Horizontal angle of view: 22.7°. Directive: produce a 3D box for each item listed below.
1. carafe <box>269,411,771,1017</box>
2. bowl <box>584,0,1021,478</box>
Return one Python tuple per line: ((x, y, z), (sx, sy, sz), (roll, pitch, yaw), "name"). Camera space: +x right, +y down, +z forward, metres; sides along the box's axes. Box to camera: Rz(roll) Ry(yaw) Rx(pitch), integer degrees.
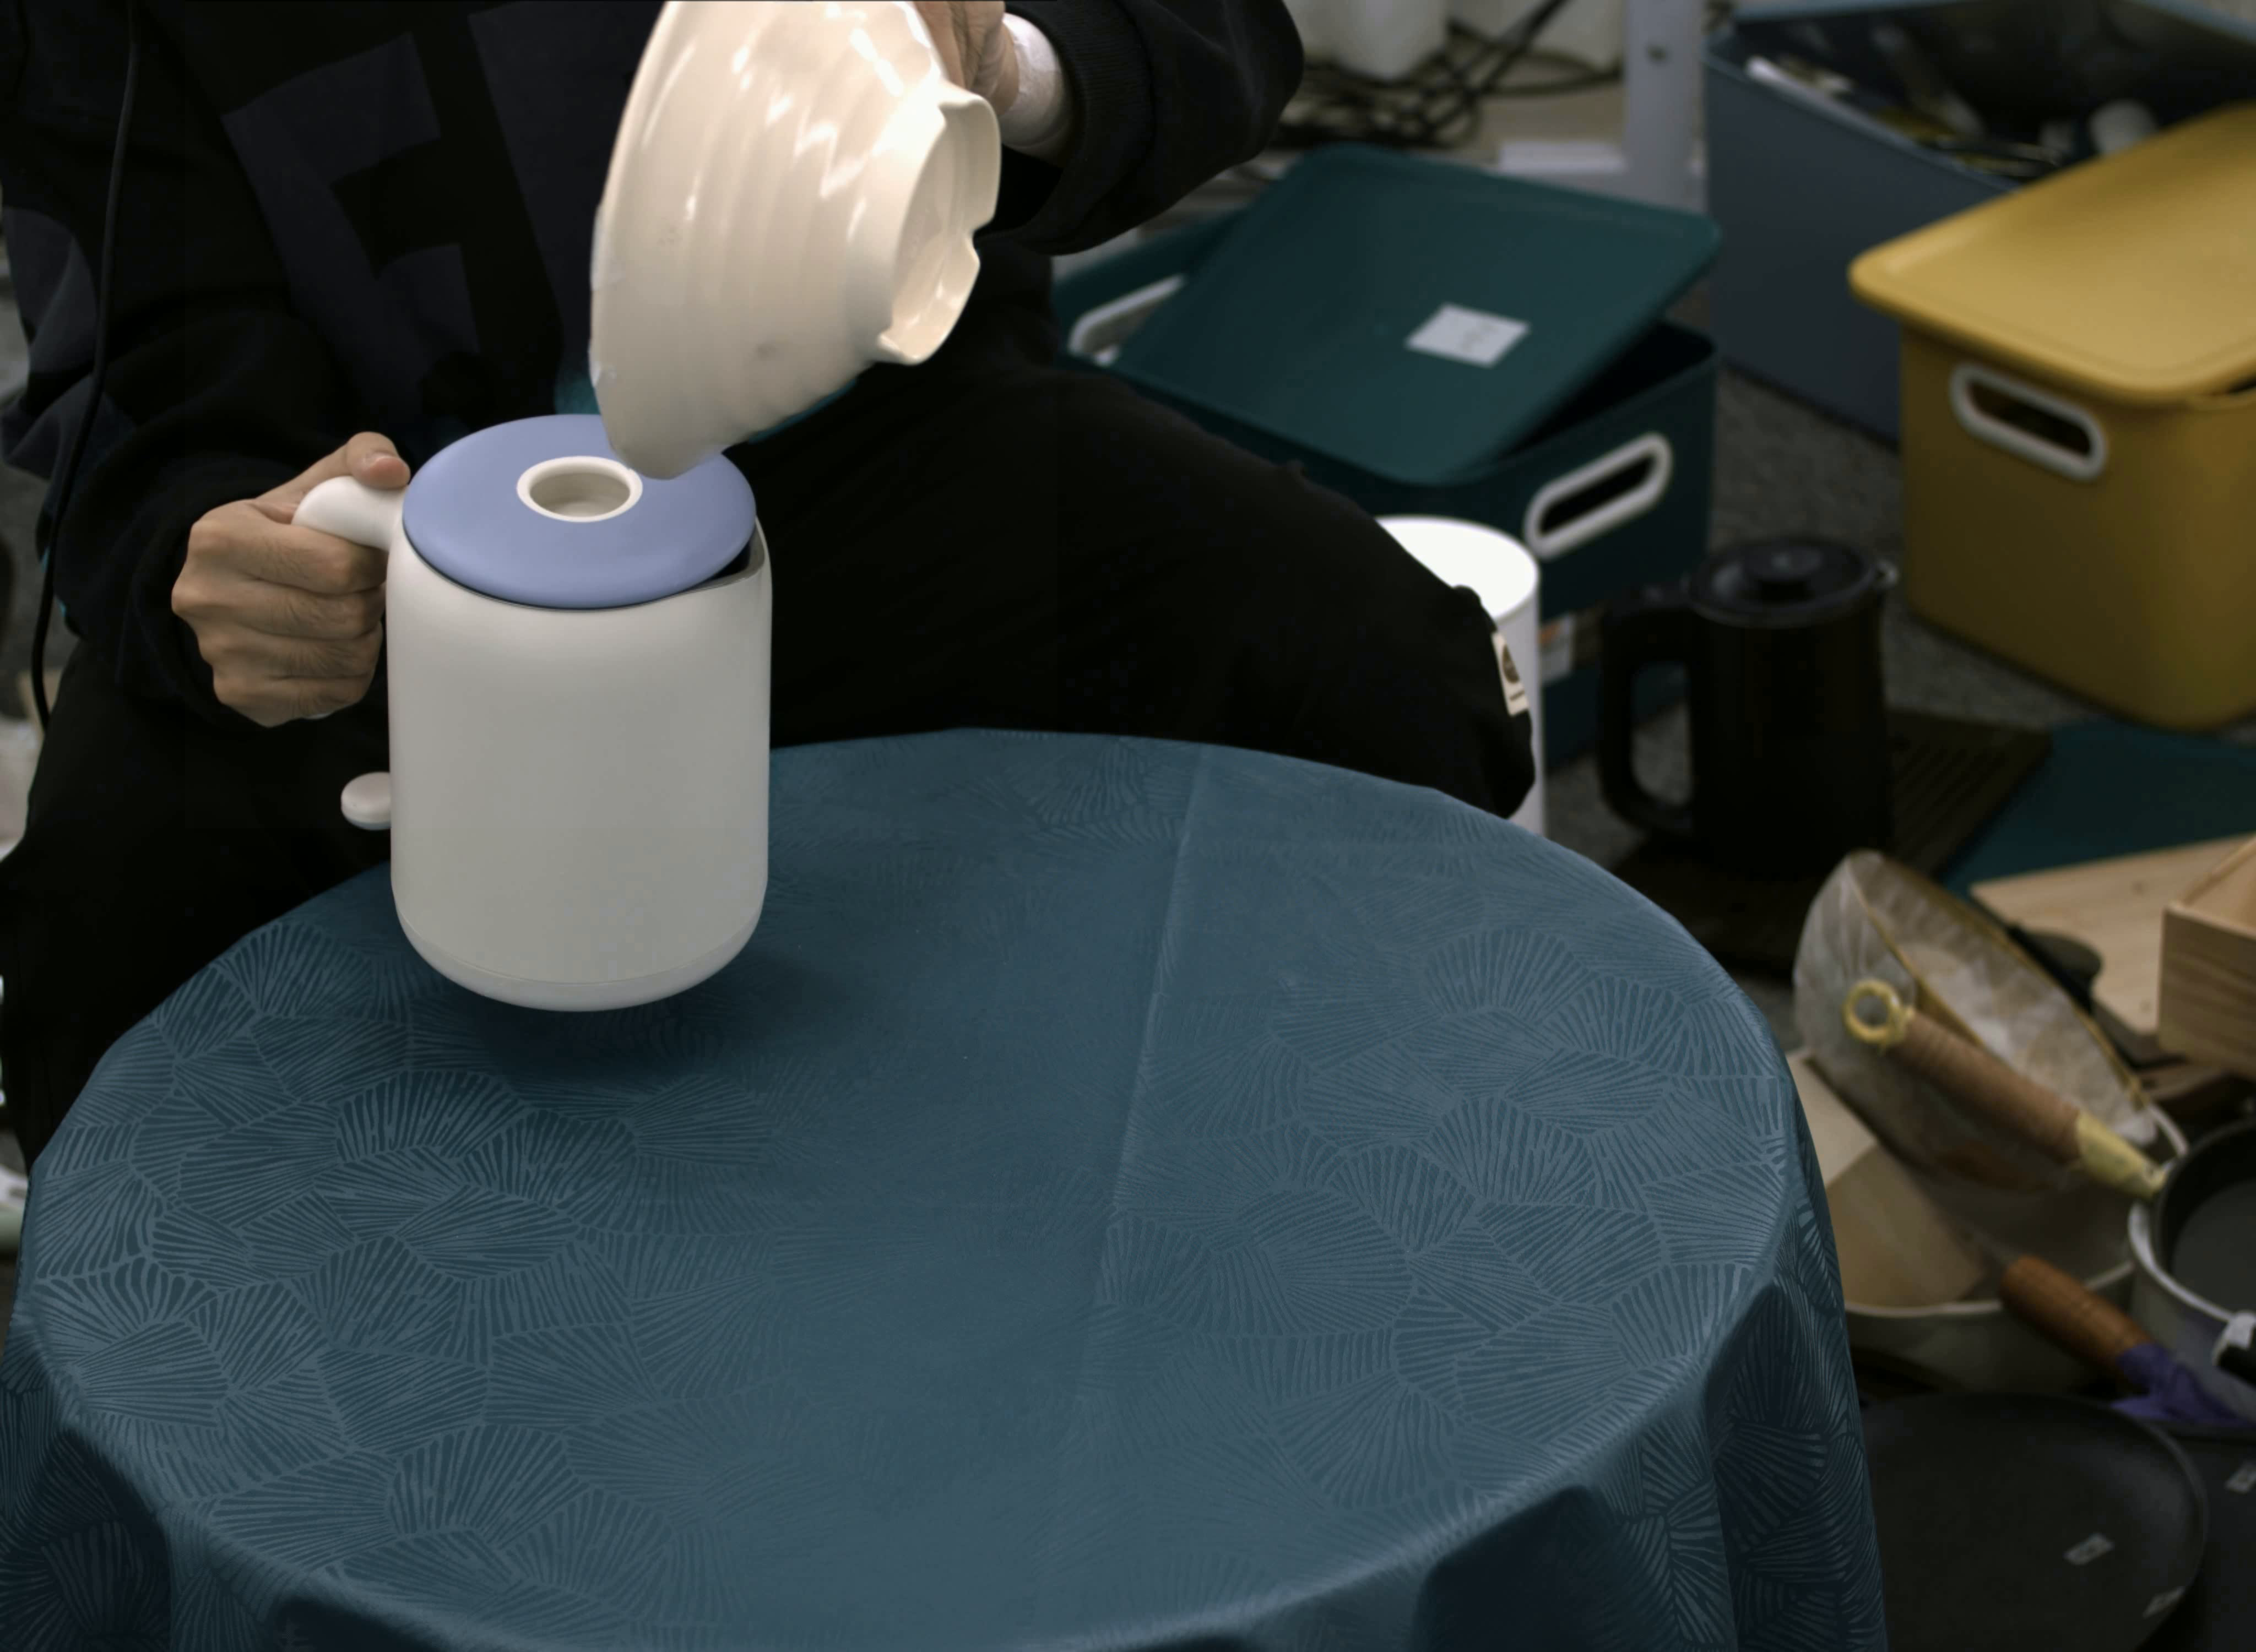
((-0.210, -0.044, 1.932), (0.190, 0.180, 0.134), (13, 33, 19), "carafe")
((-0.088, -0.197, 1.789), (0.077, 0.201, 0.207), (19, 33, 20), "bowl")
